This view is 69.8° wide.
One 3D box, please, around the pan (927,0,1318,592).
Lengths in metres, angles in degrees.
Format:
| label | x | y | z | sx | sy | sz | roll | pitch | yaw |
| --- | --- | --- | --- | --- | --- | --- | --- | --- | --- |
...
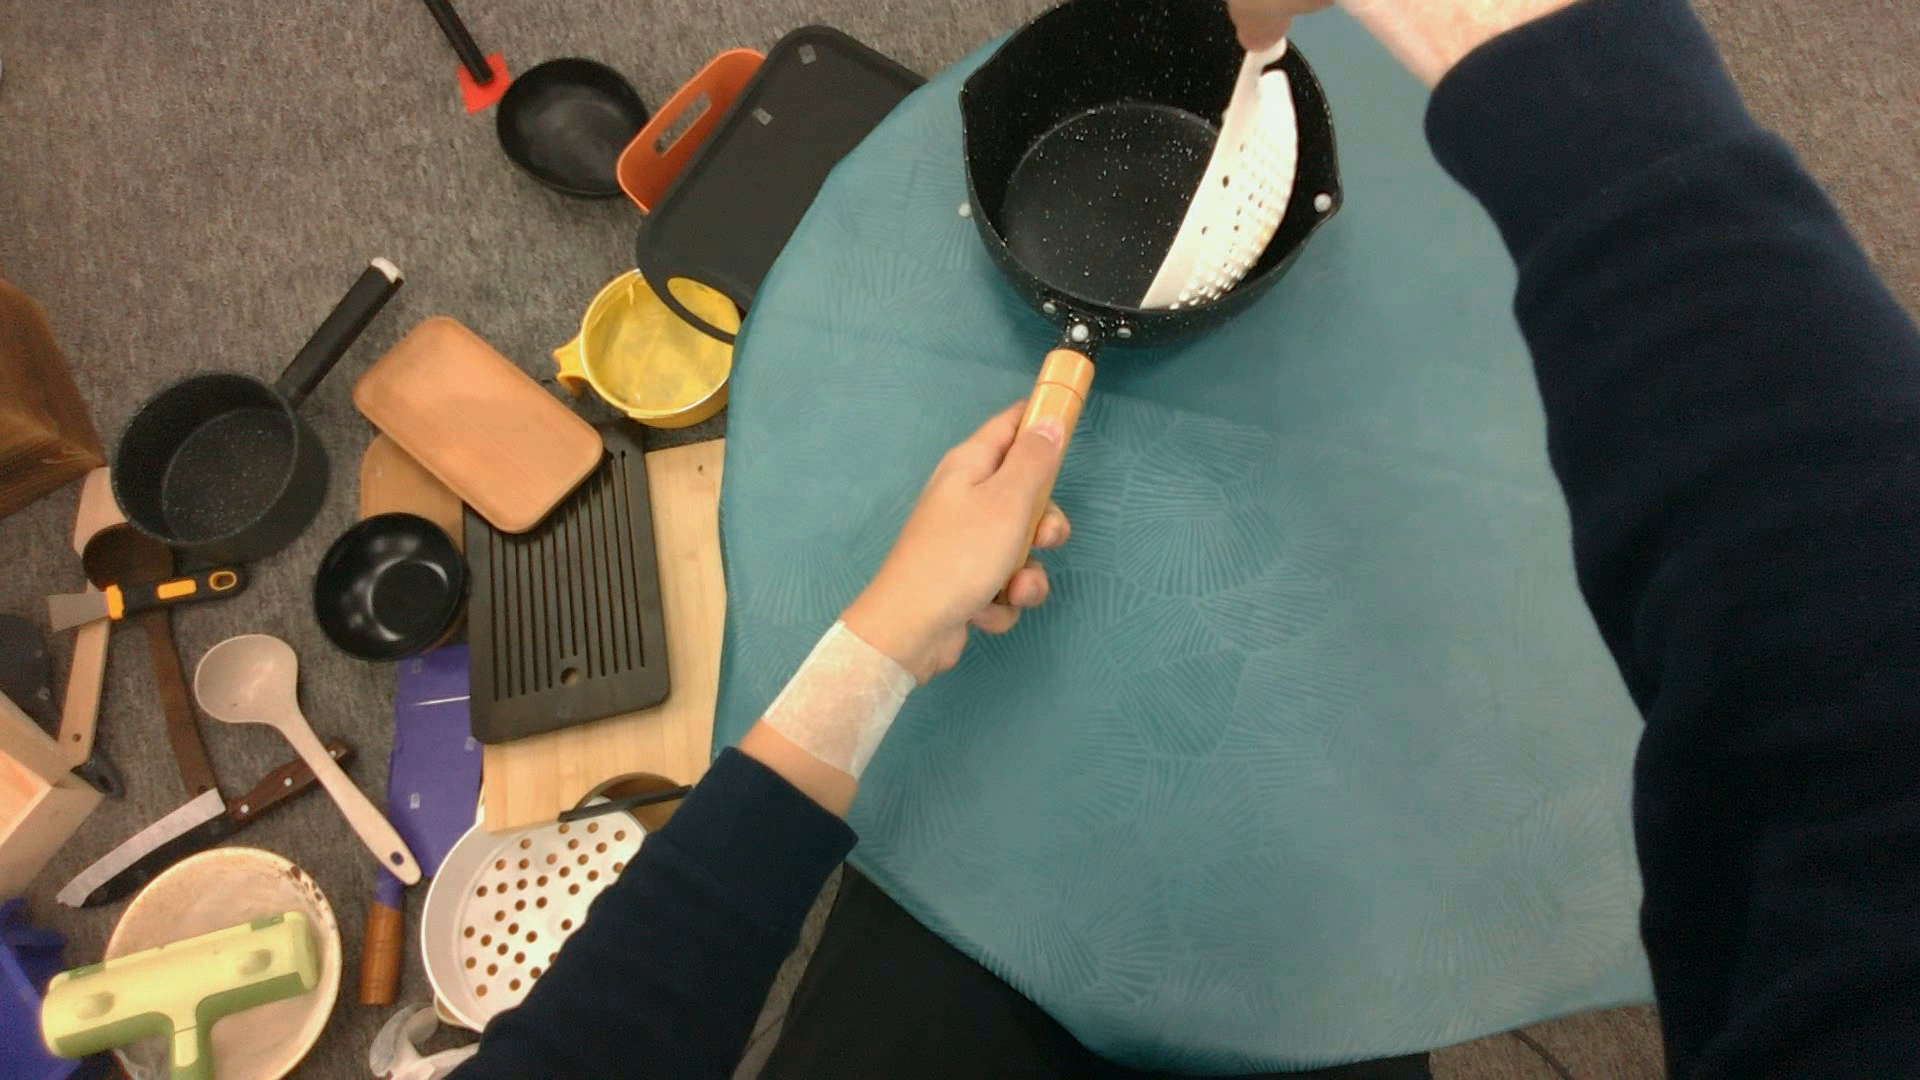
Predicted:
| label | x | y | z | sx | sy | sz | roll | pitch | yaw |
| --- | --- | --- | --- | --- | --- | --- | --- | --- | --- |
| pan | 0.059 | -0.122 | 0.699 | 0.207 | 0.108 | 0.343 | 17 | 74 | 5 |

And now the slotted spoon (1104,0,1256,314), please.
| label | x | y | z | sx | sy | sz | roll | pitch | yaw |
| --- | --- | --- | --- | --- | --- | --- | --- | --- | --- |
| slotted spoon | 0.111 | -0.184 | 0.586 | 0.050 | 0.347 | 0.137 | 27 | 83 | 9 |
